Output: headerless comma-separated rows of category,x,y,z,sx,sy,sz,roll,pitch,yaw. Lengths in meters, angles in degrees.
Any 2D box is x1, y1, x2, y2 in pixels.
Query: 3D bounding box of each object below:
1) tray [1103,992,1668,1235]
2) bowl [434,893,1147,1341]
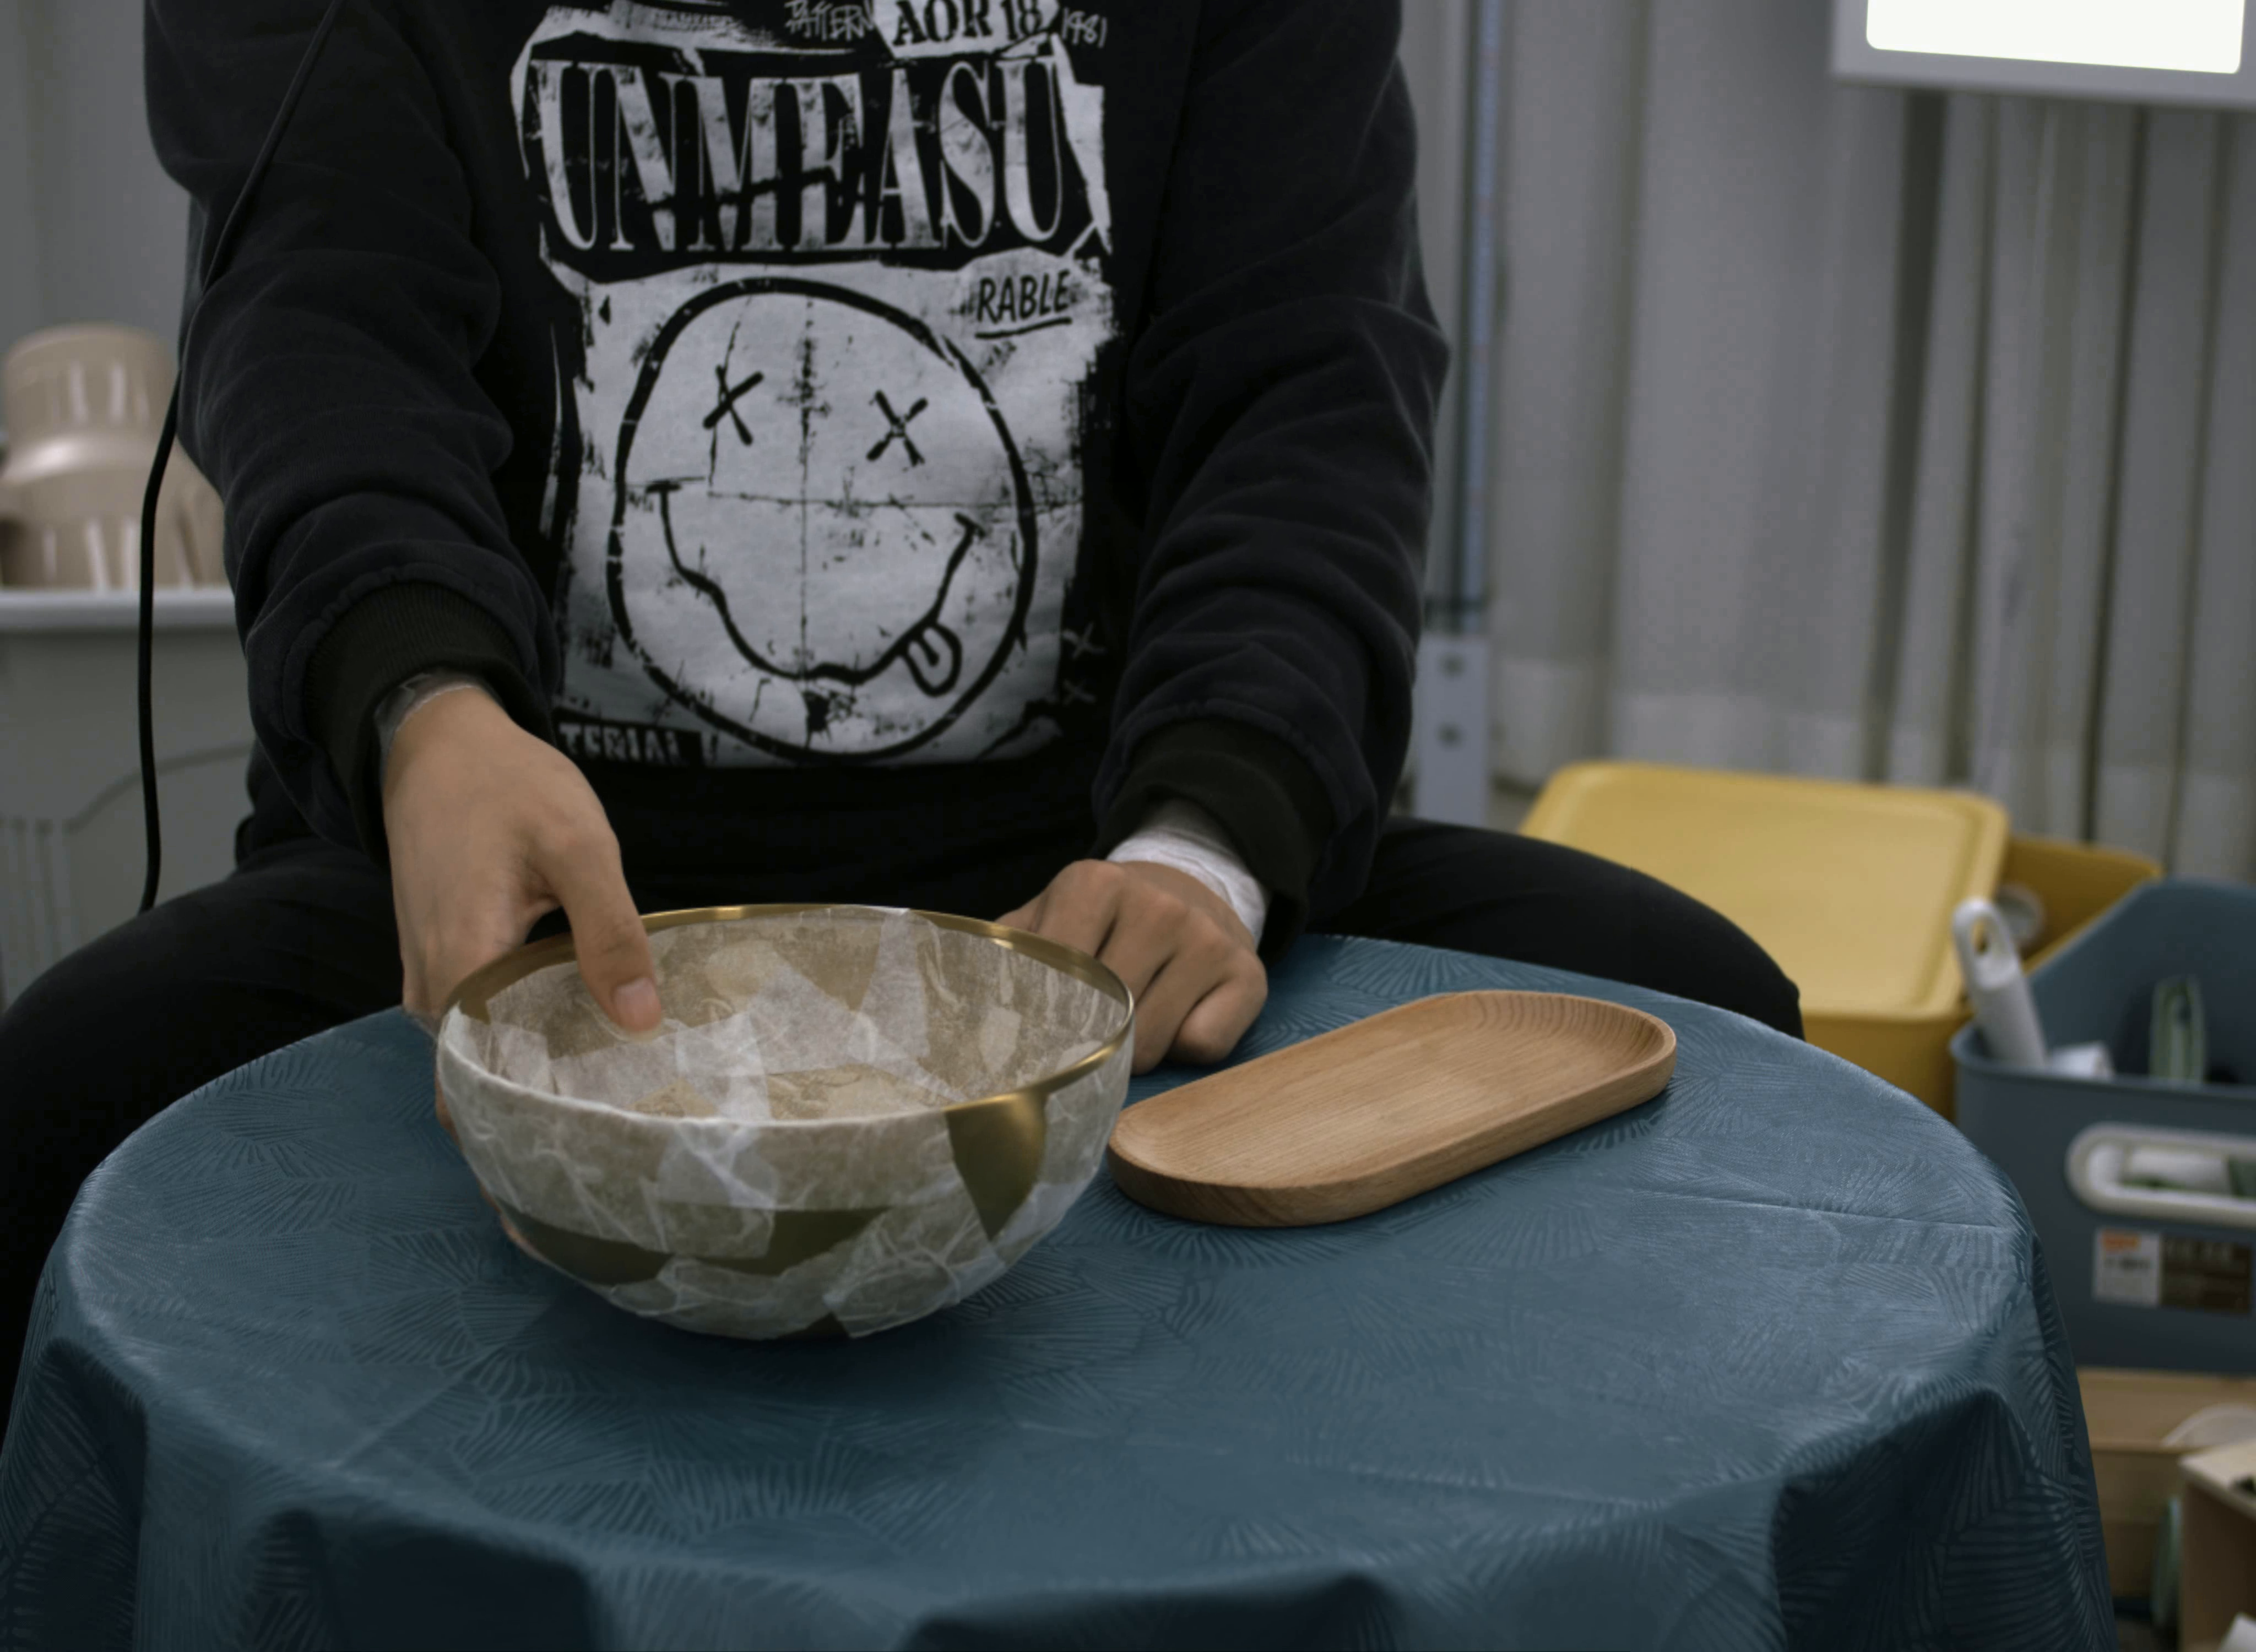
tray,0.085,0.090,1.681,0.100,0.020,0.232,11,21,38
bowl,-0.094,0.092,1.520,0.214,0.095,0.213,0,17,1
